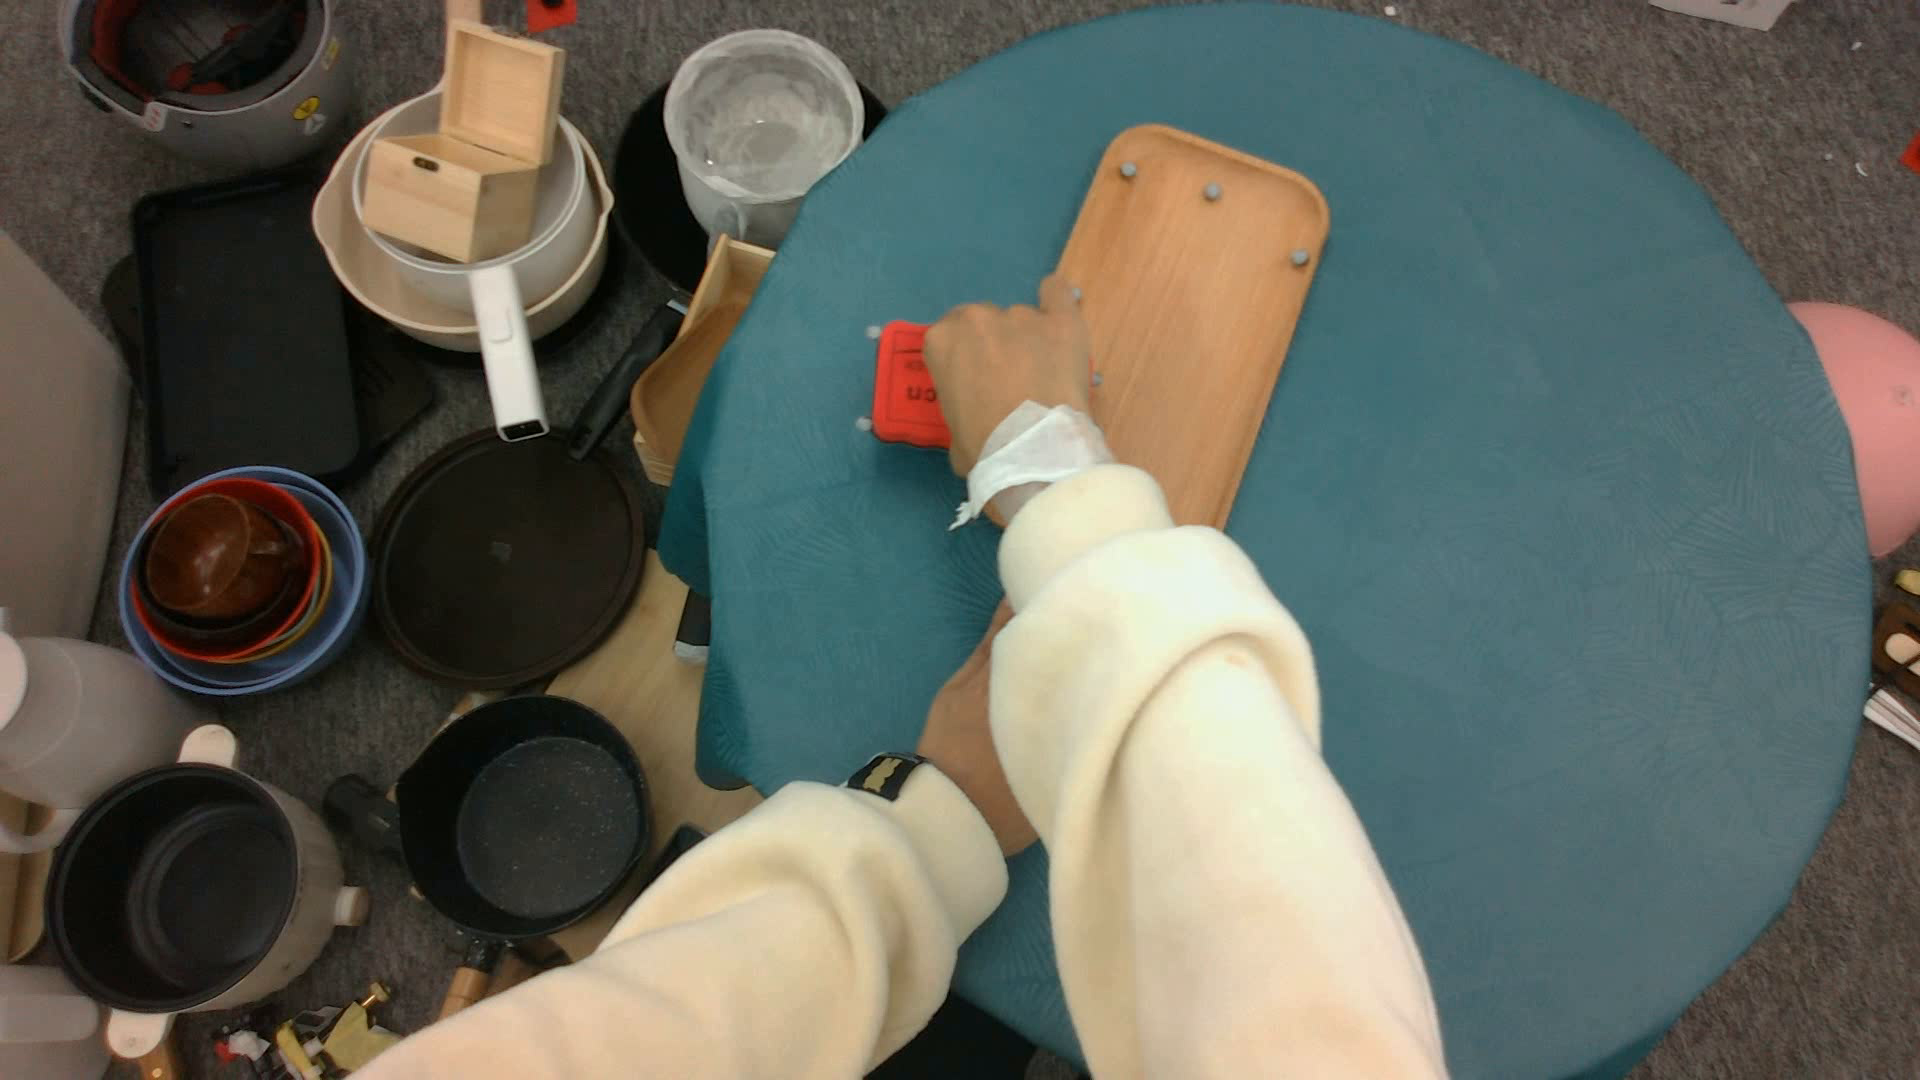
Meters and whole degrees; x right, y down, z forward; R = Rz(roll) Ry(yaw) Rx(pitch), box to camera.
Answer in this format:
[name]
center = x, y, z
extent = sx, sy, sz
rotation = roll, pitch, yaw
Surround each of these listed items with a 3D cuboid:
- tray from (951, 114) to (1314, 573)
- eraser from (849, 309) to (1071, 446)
[tray]
center = 0.093, -0.108, 0.719
extent = 0.130, 0.023, 0.251
rotation = 22, 72, 7
[eraser]
center = 0.000, -0.080, 0.682
extent = 0.108, 0.023, 0.059
rotation = 4, 78, -9
